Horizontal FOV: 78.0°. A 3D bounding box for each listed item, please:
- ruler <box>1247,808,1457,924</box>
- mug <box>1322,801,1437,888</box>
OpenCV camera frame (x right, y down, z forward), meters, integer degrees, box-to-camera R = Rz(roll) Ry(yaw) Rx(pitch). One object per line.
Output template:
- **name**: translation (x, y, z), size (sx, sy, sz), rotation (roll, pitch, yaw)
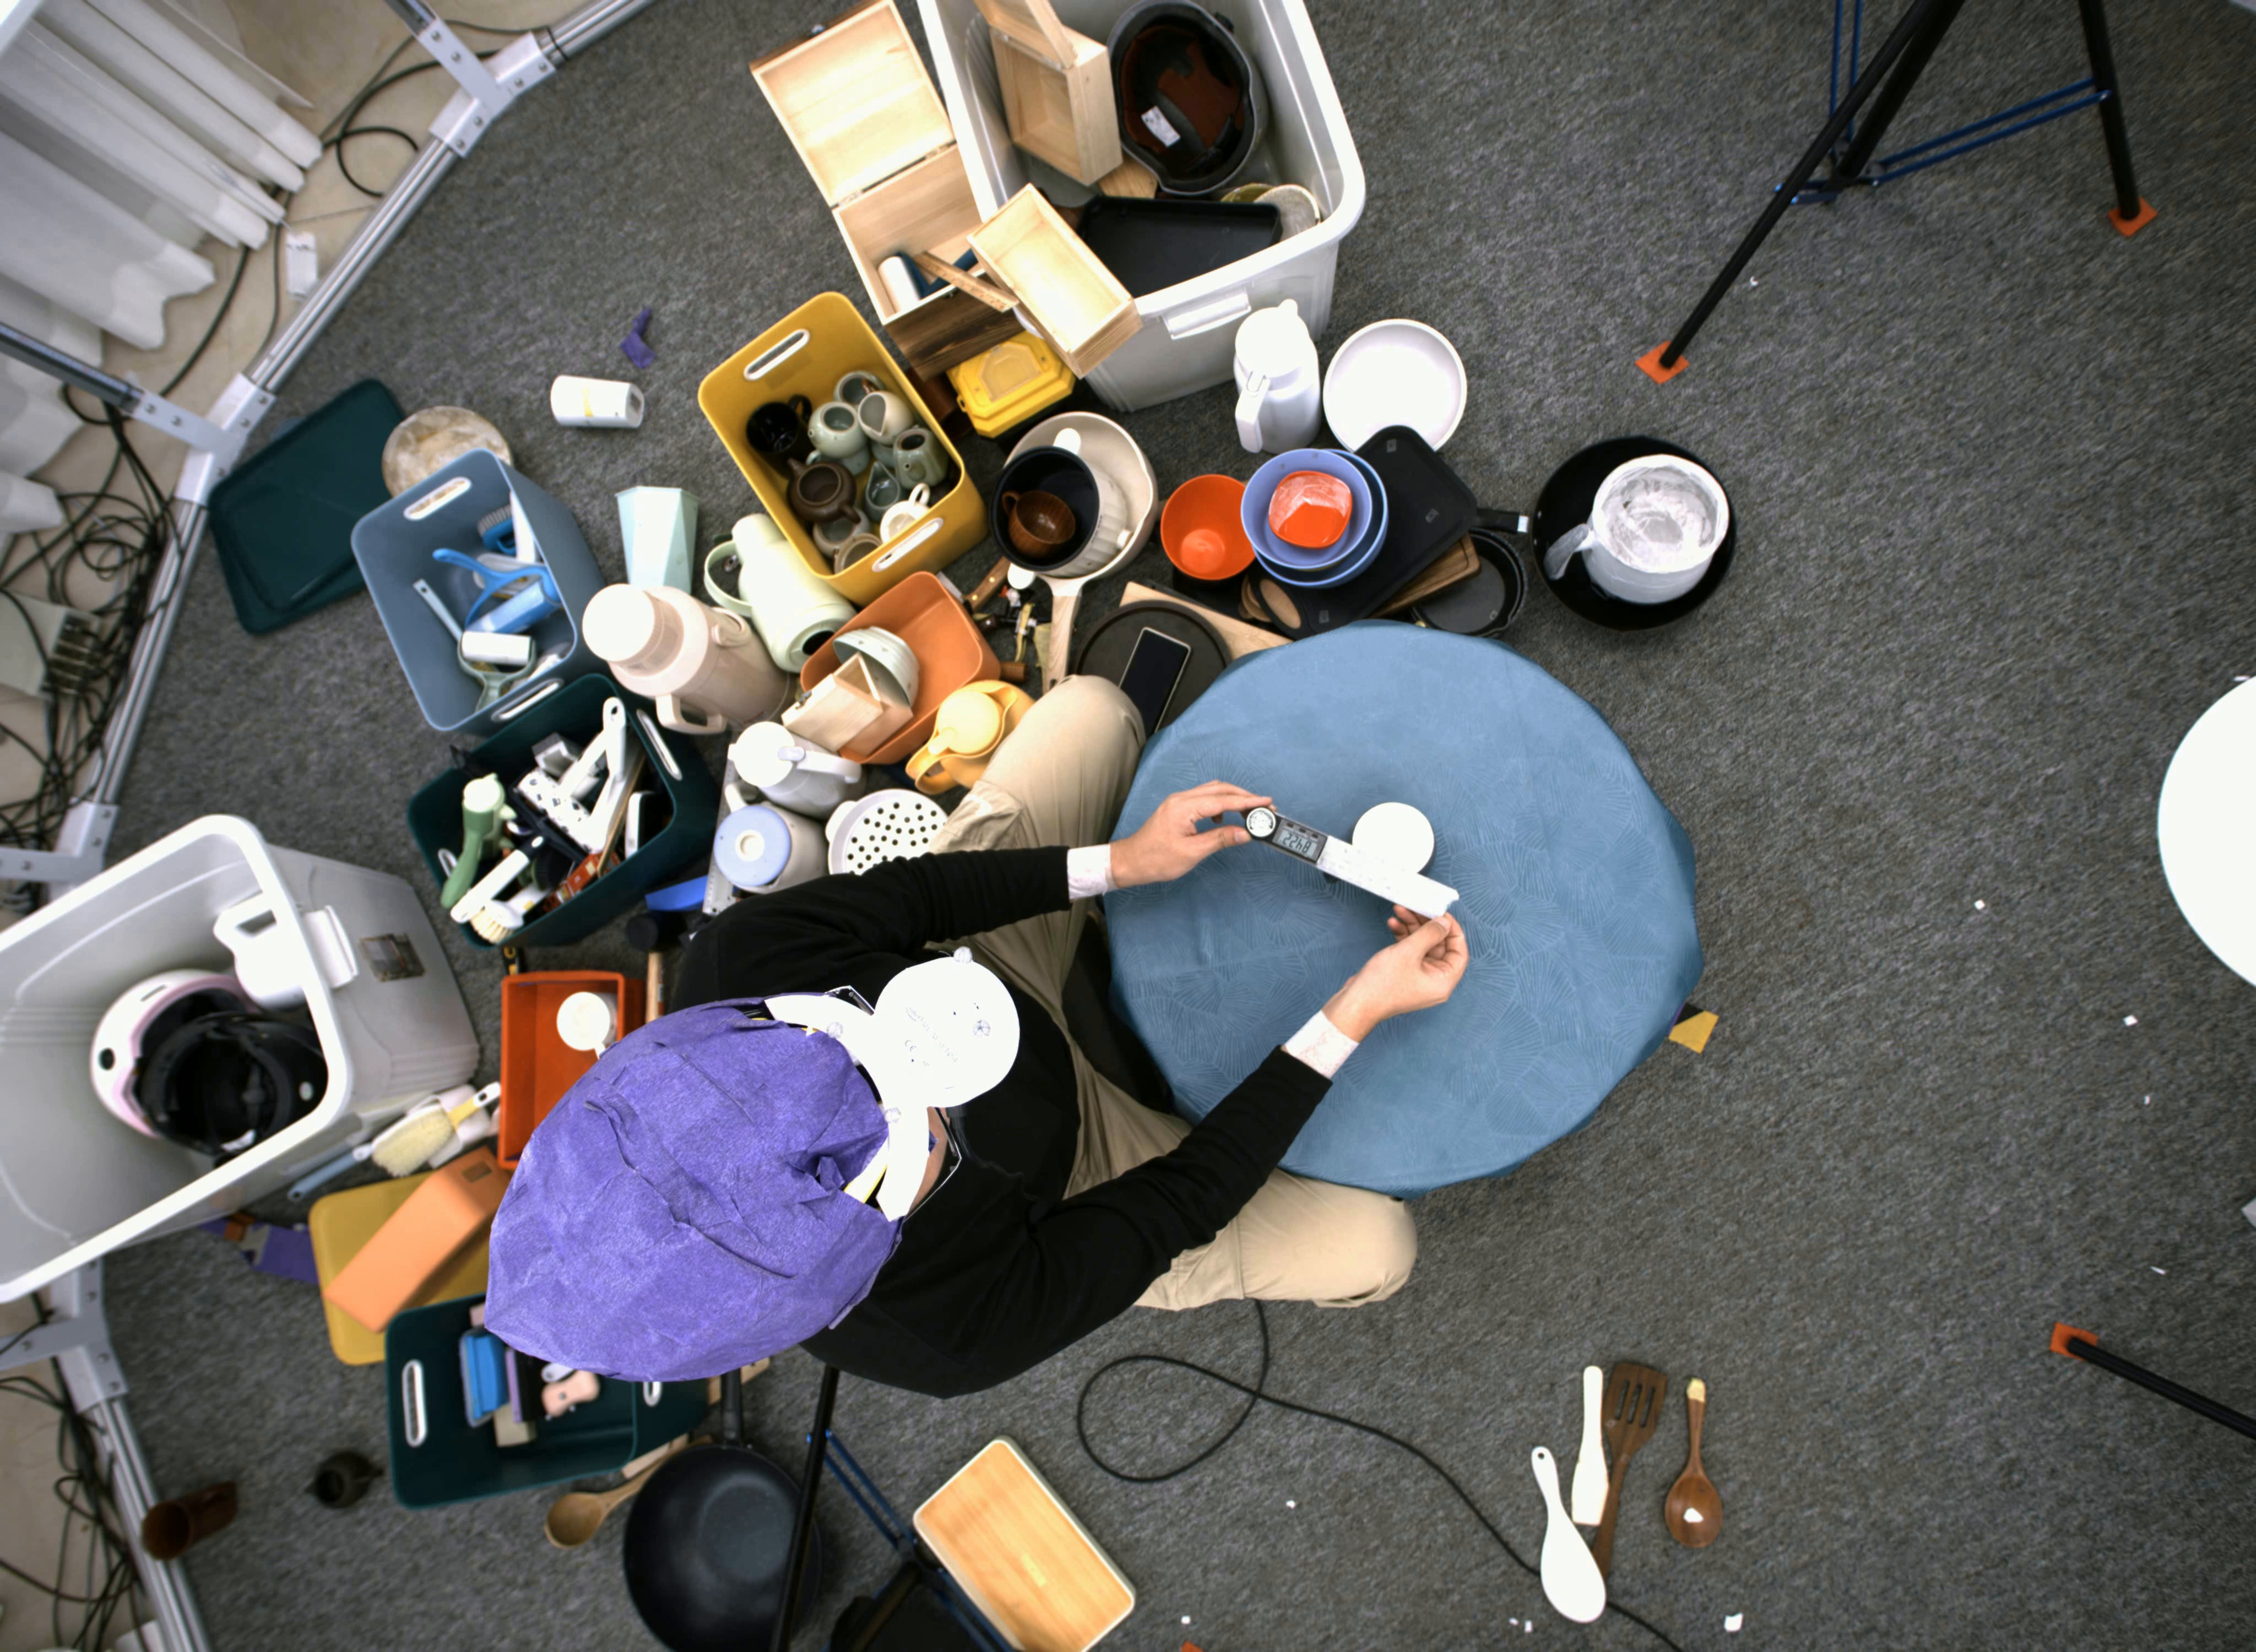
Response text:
- **ruler**: translation (0.218, 0.035, 1.368), size (0.218, 0.024, 0.038), rotation (24, 95, 12)
- **mug**: translation (0.257, 0.024, 1.418), size (0.124, 0.090, 0.093), rotation (-24, 81, 7)
